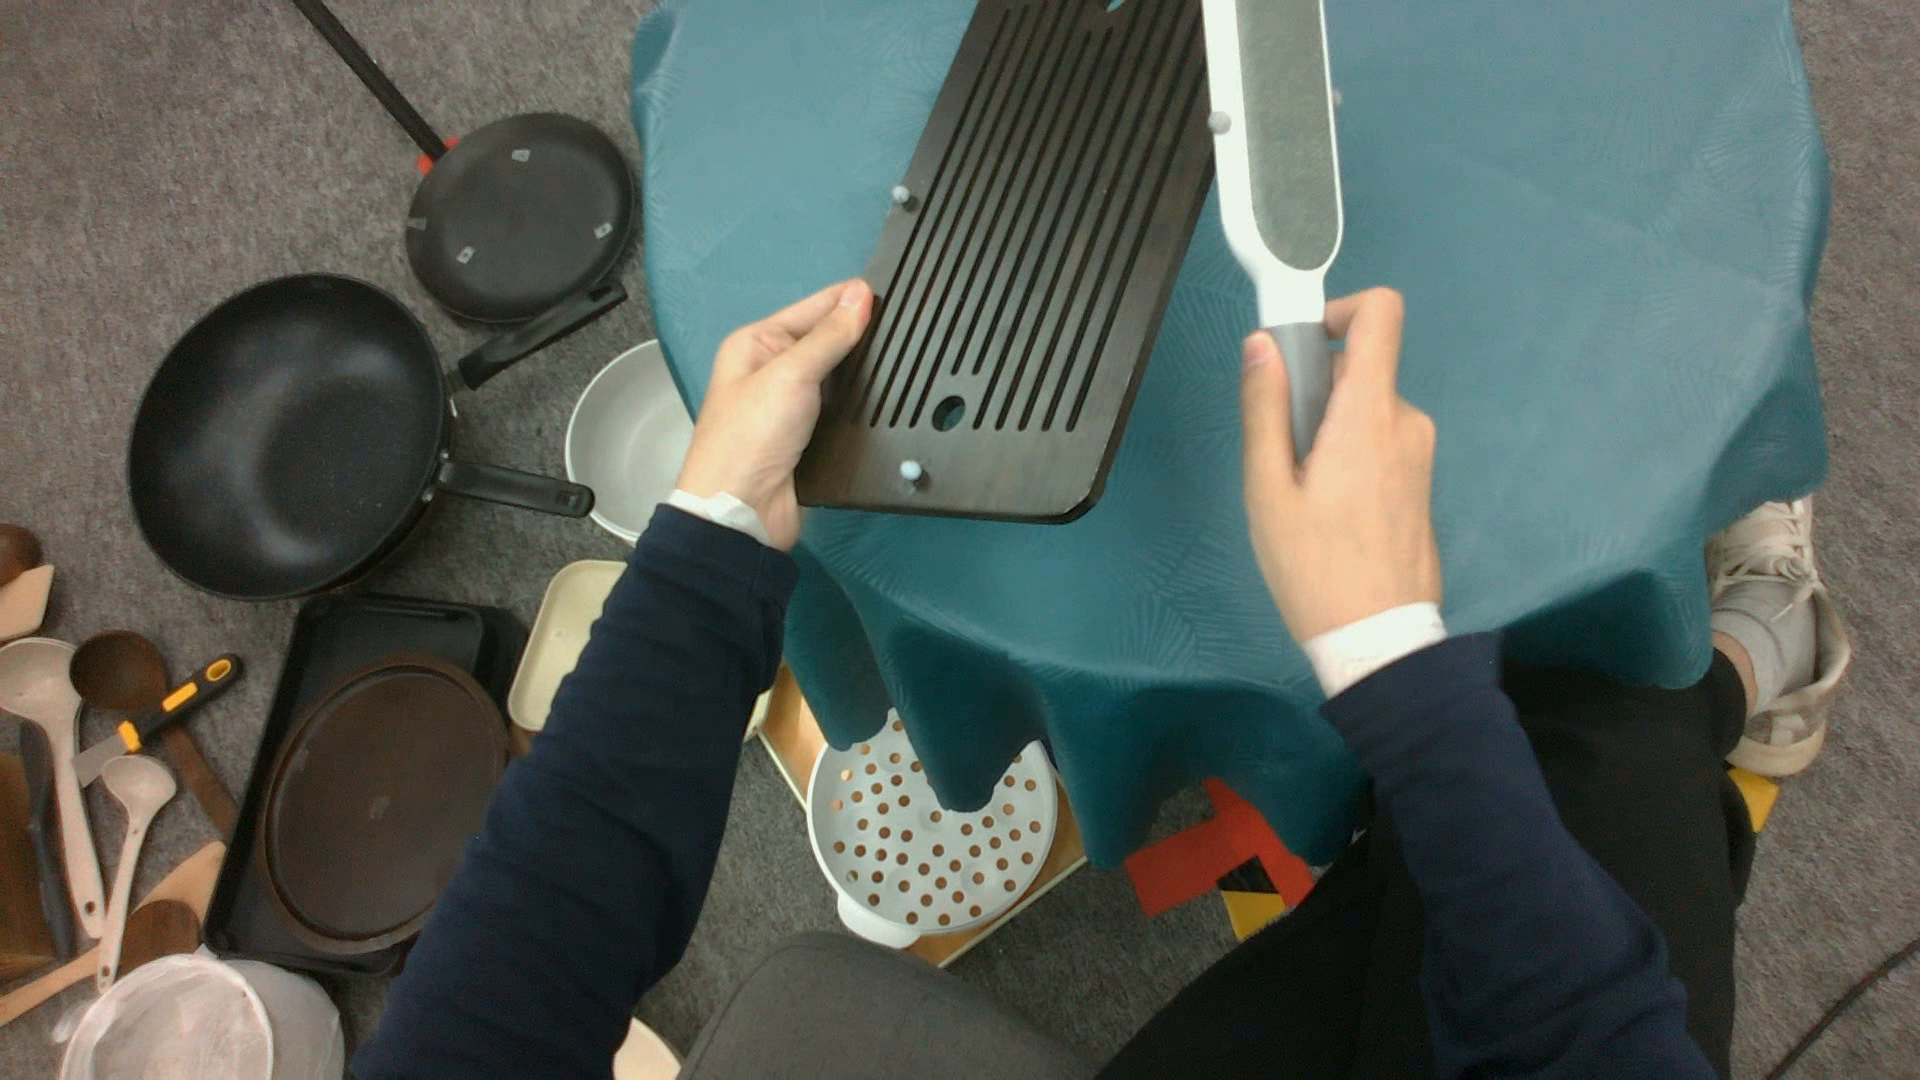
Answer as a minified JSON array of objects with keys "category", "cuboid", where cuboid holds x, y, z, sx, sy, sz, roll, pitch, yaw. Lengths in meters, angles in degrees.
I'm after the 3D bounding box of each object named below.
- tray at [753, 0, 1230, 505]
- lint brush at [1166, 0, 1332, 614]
[{"category":"tray","cuboid":[0.022,-0.153,0.606,0.170,0.018,0.307,3,66,38]},{"category":"lint brush","cuboid":[0.115,-0.124,0.546,0.060,0.021,0.309,-3,84,-40]}]
